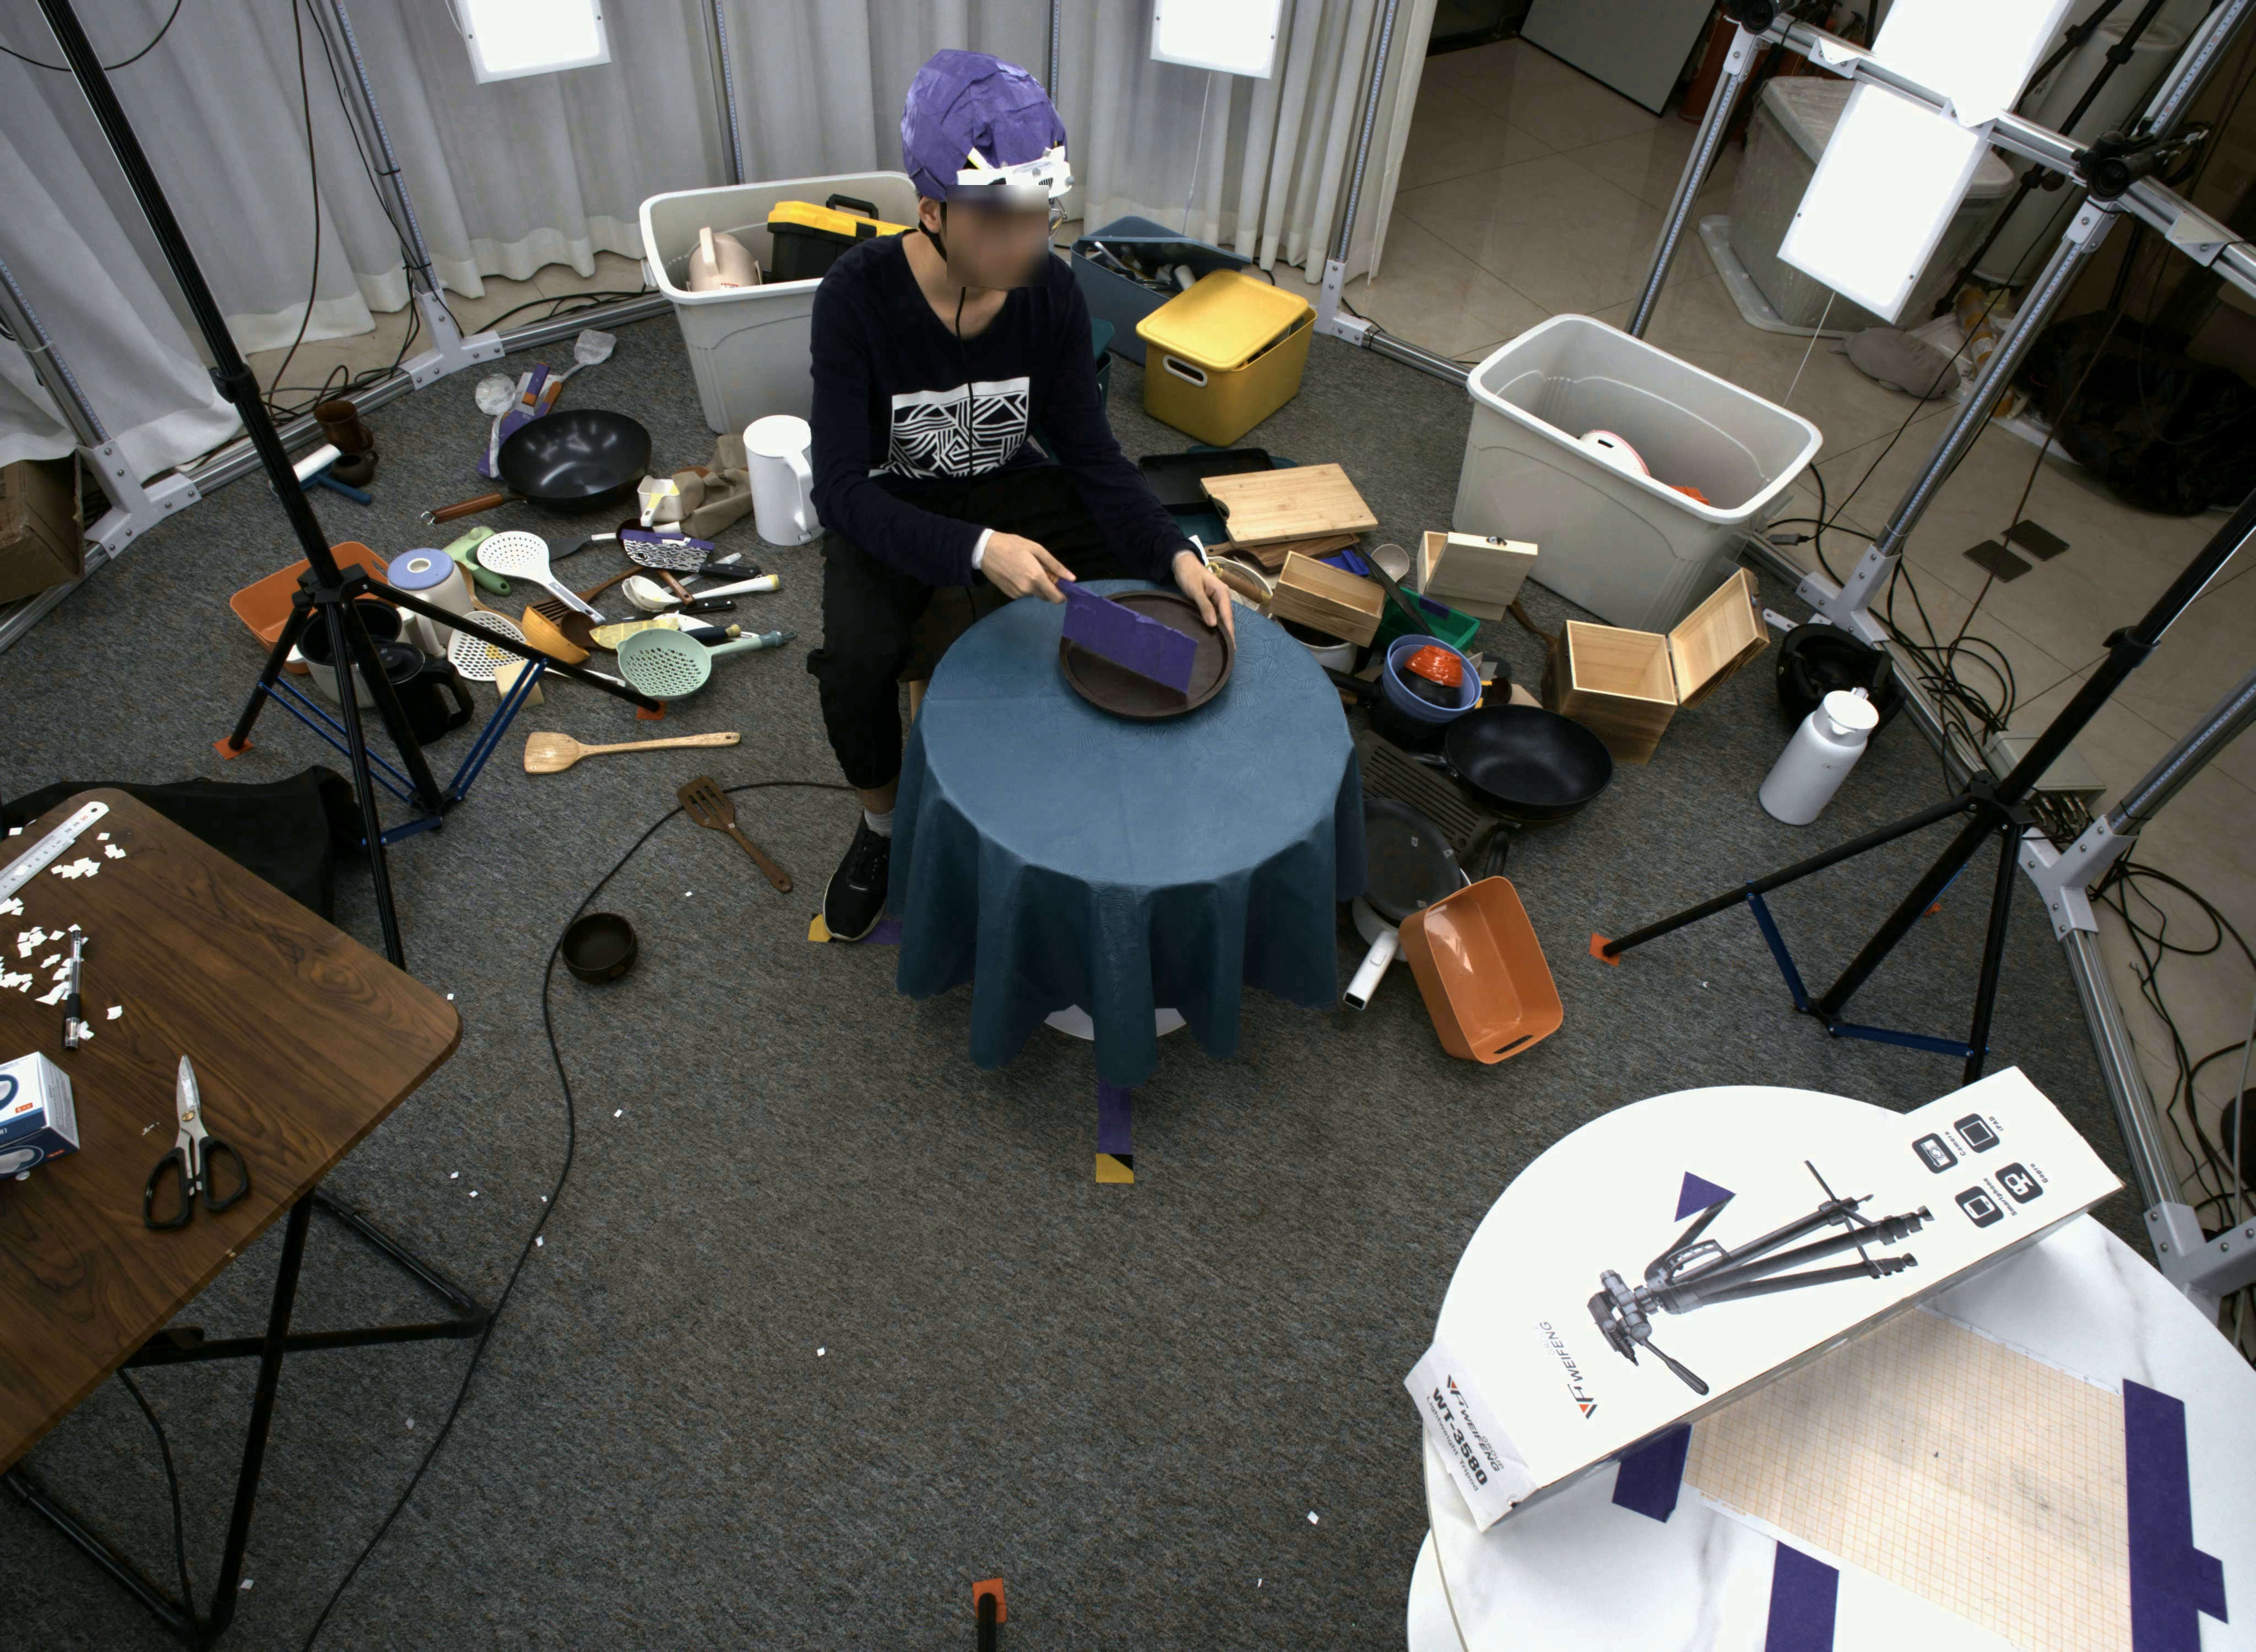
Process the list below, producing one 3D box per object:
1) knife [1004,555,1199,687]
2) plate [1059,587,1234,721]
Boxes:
[{"bbox_3d":[-0.044,-0.287,1.824,0.318,0.101,0.032,28,41,19],"label":"knife"},{"bbox_3d":[0.027,-0.248,1.859,0.254,0.028,0.261,0,53,0],"label":"plate"}]
